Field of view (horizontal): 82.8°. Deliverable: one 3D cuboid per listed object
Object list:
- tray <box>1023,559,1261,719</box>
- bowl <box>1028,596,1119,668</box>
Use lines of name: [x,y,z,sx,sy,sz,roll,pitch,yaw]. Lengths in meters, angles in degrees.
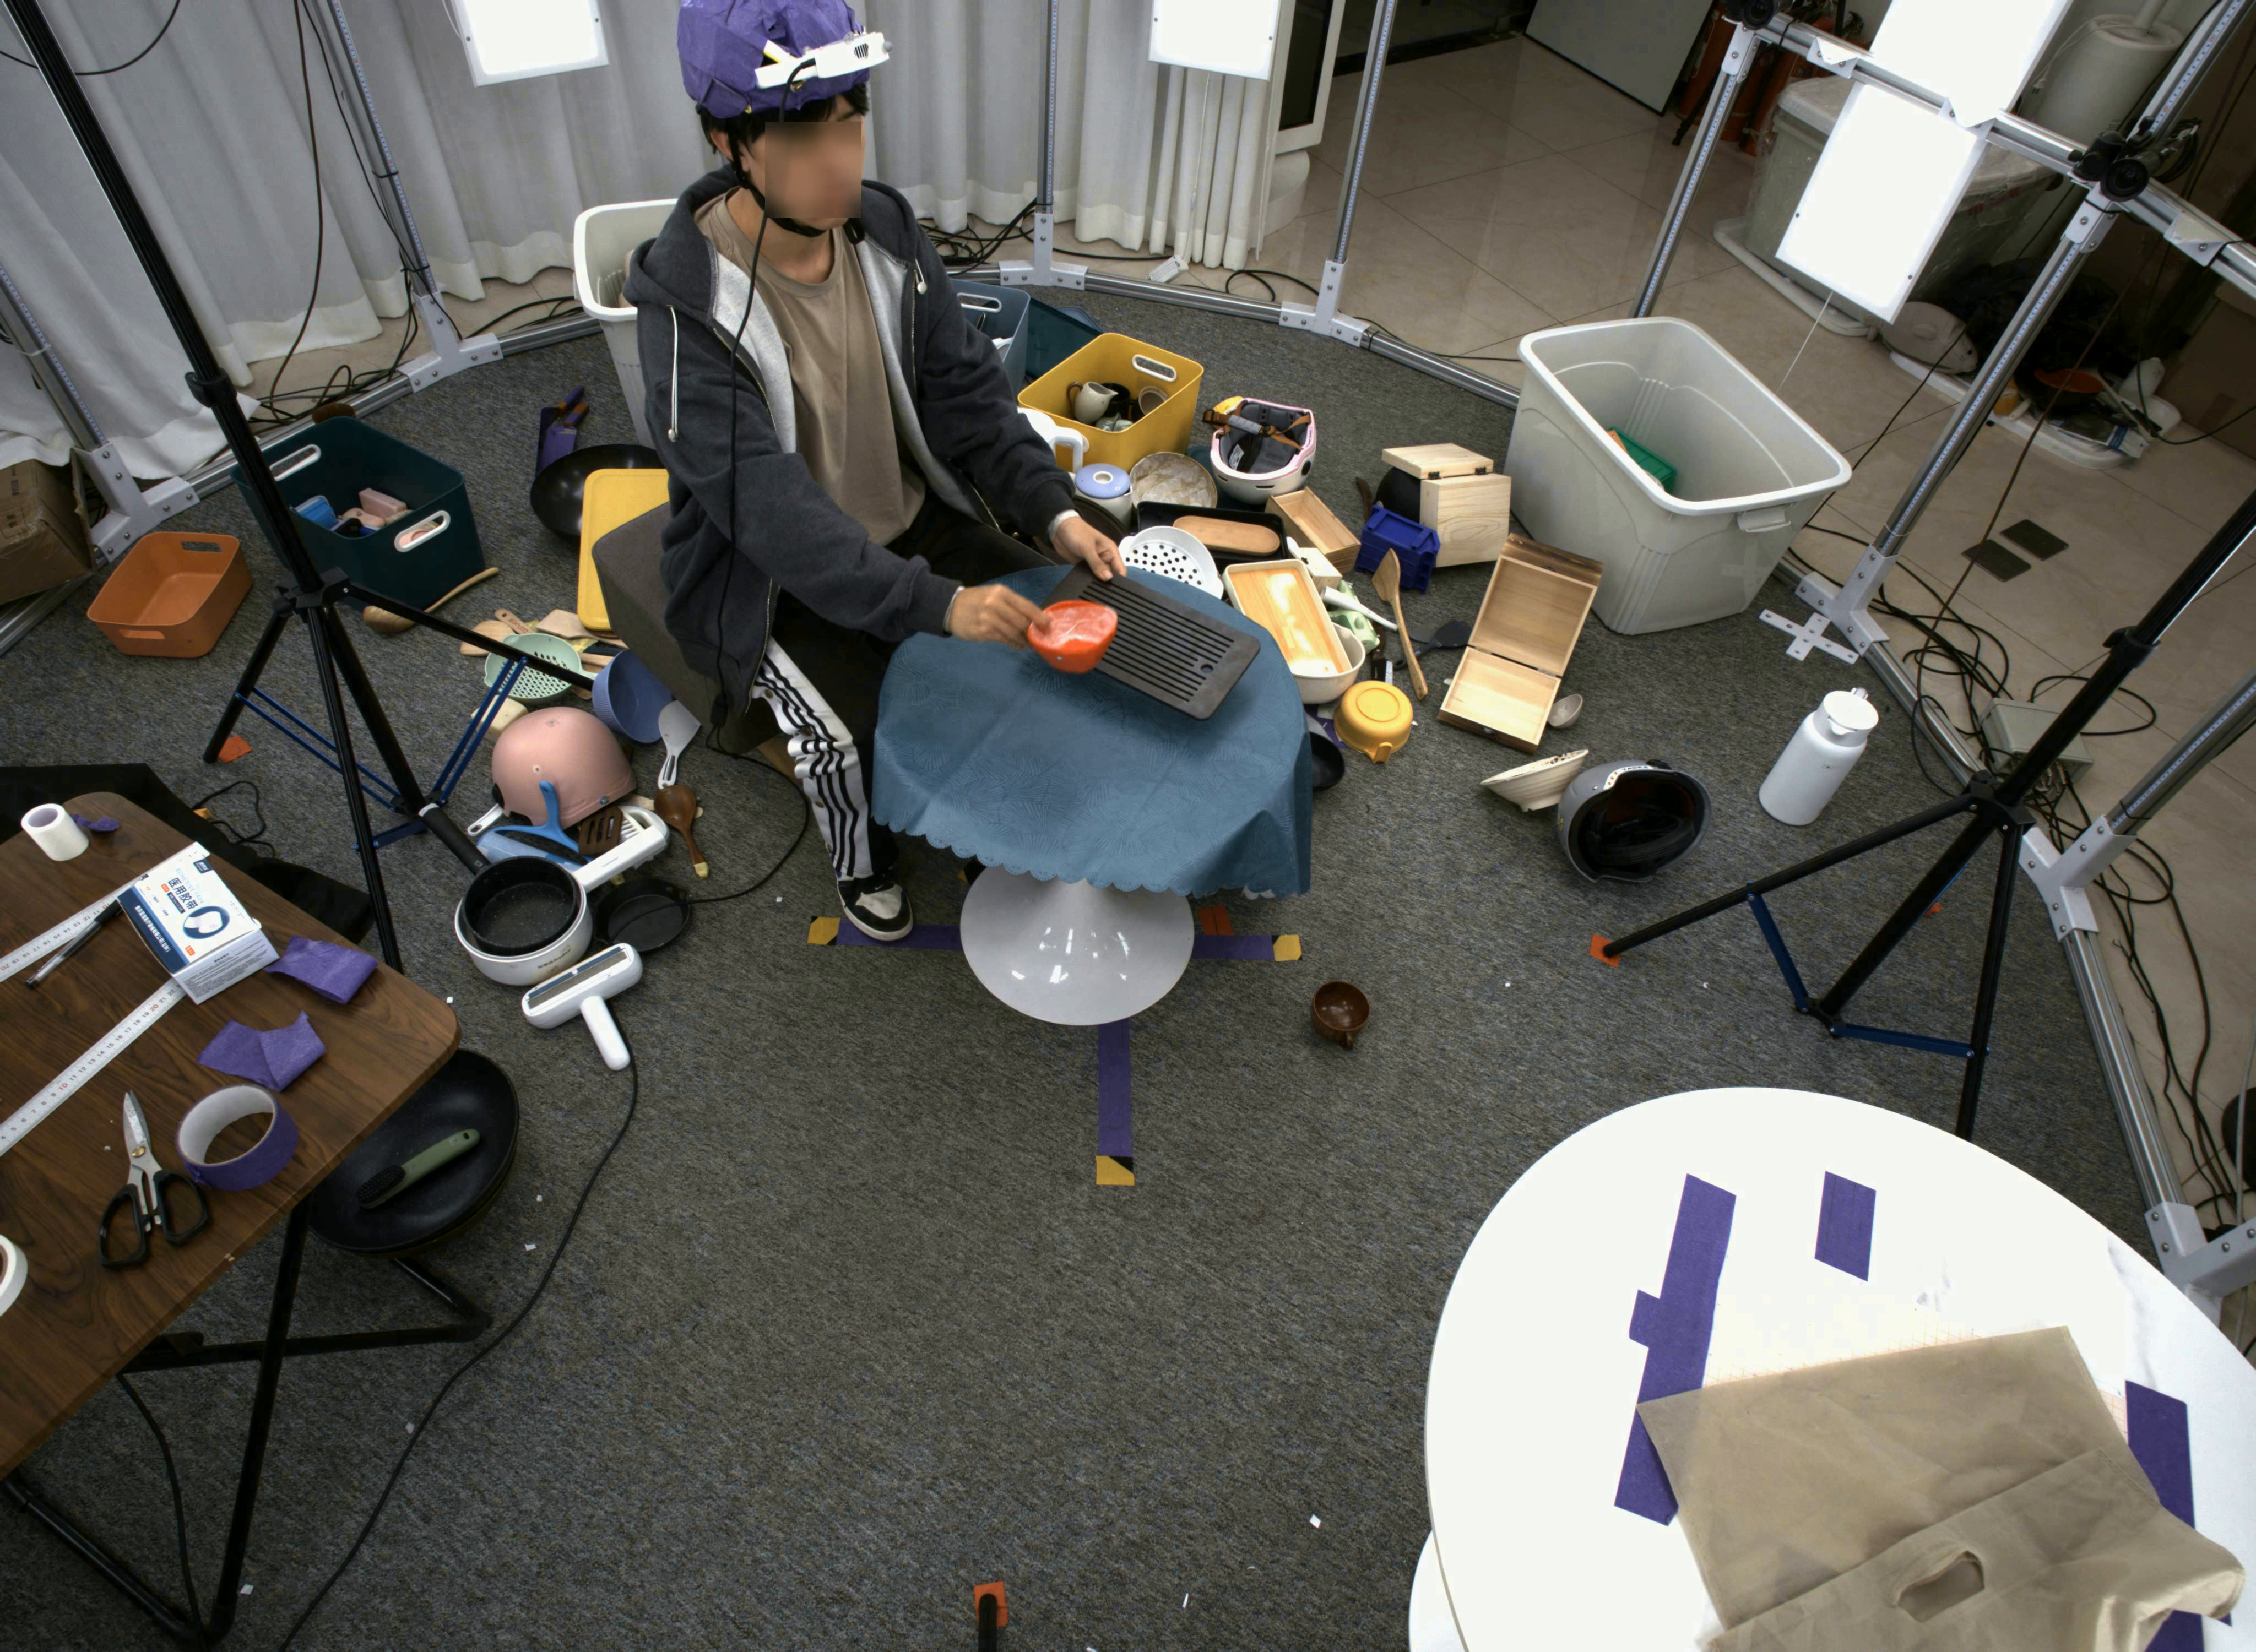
tray: [0.020,-0.268,1.827,0.308,0.018,0.172,27,59,17]
bowl: [-0.068,-0.246,1.658,0.119,0.050,0.122,-3,42,2]
